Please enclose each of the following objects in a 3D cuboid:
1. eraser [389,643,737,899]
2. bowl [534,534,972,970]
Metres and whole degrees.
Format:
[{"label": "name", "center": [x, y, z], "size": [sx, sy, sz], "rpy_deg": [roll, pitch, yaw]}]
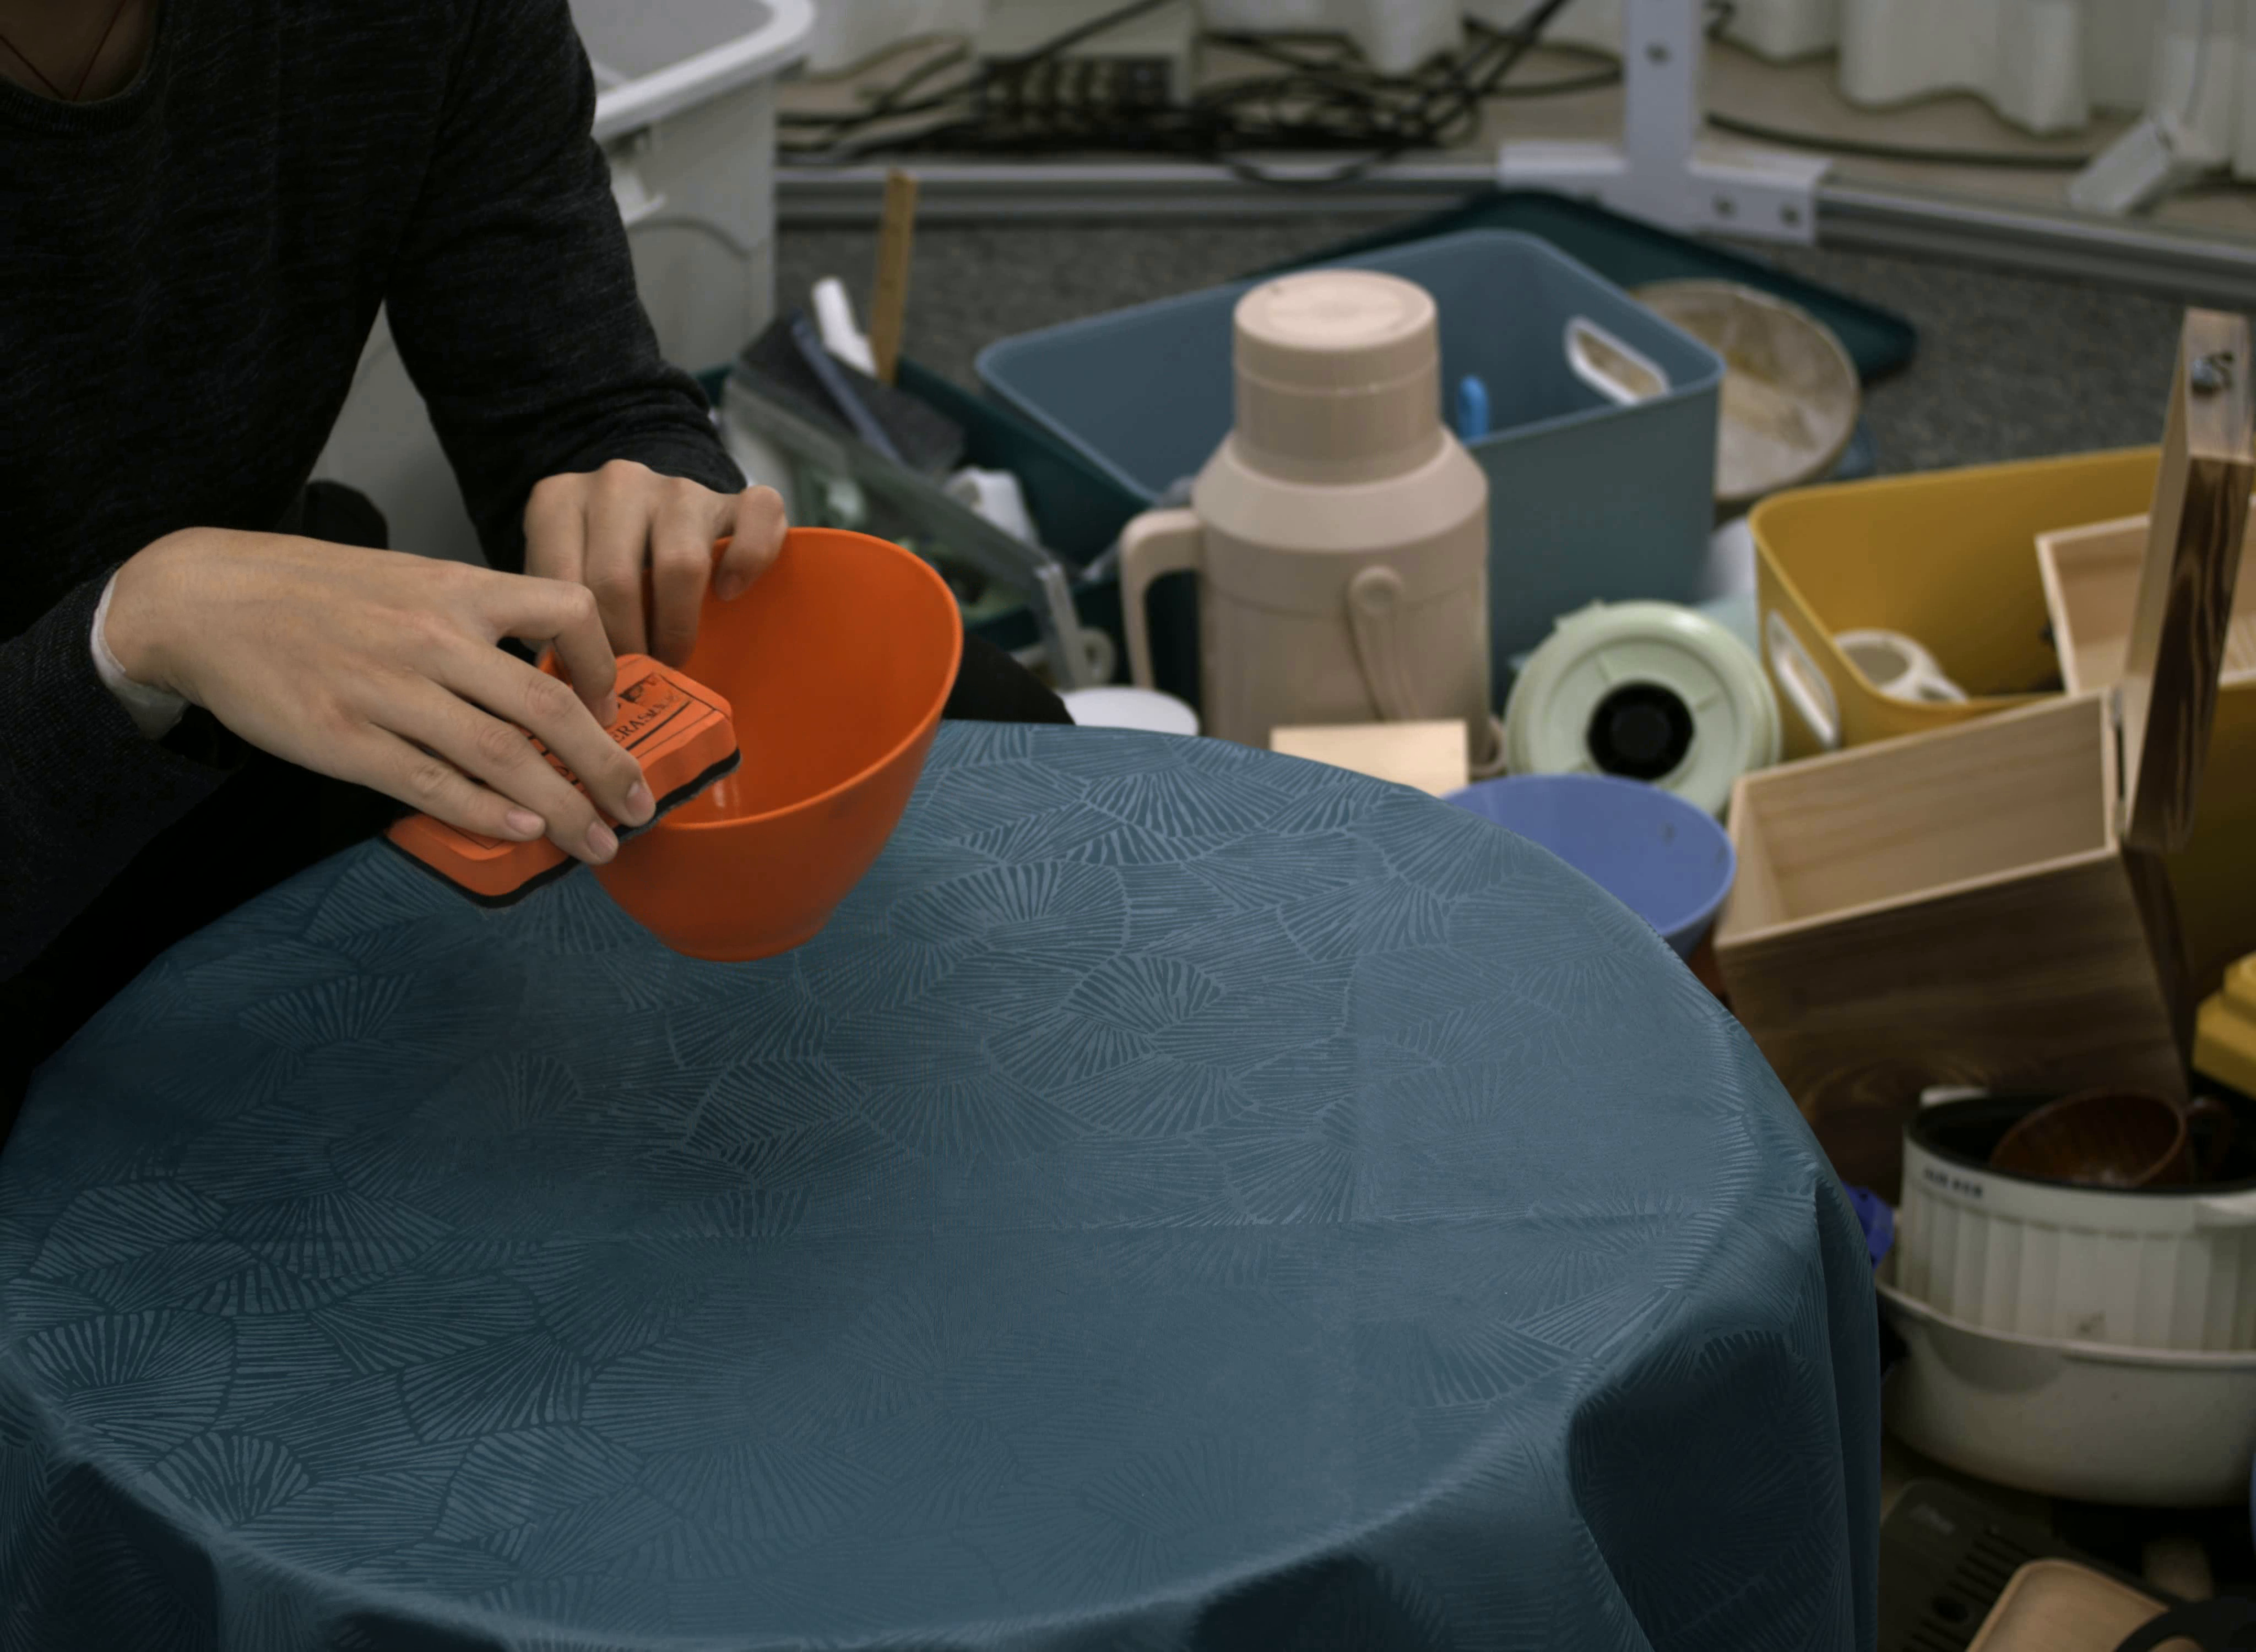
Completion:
[{"label": "eraser", "center": [-0.181, -0.018, 1.809], "size": [0.059, 0.022, 0.109], "rpy_deg": [27, 47, 37]}, {"label": "bowl", "center": [-0.122, -0.016, 1.876], "size": [0.147, 0.103, 0.151], "rpy_deg": [-1, 36, 1]}]
